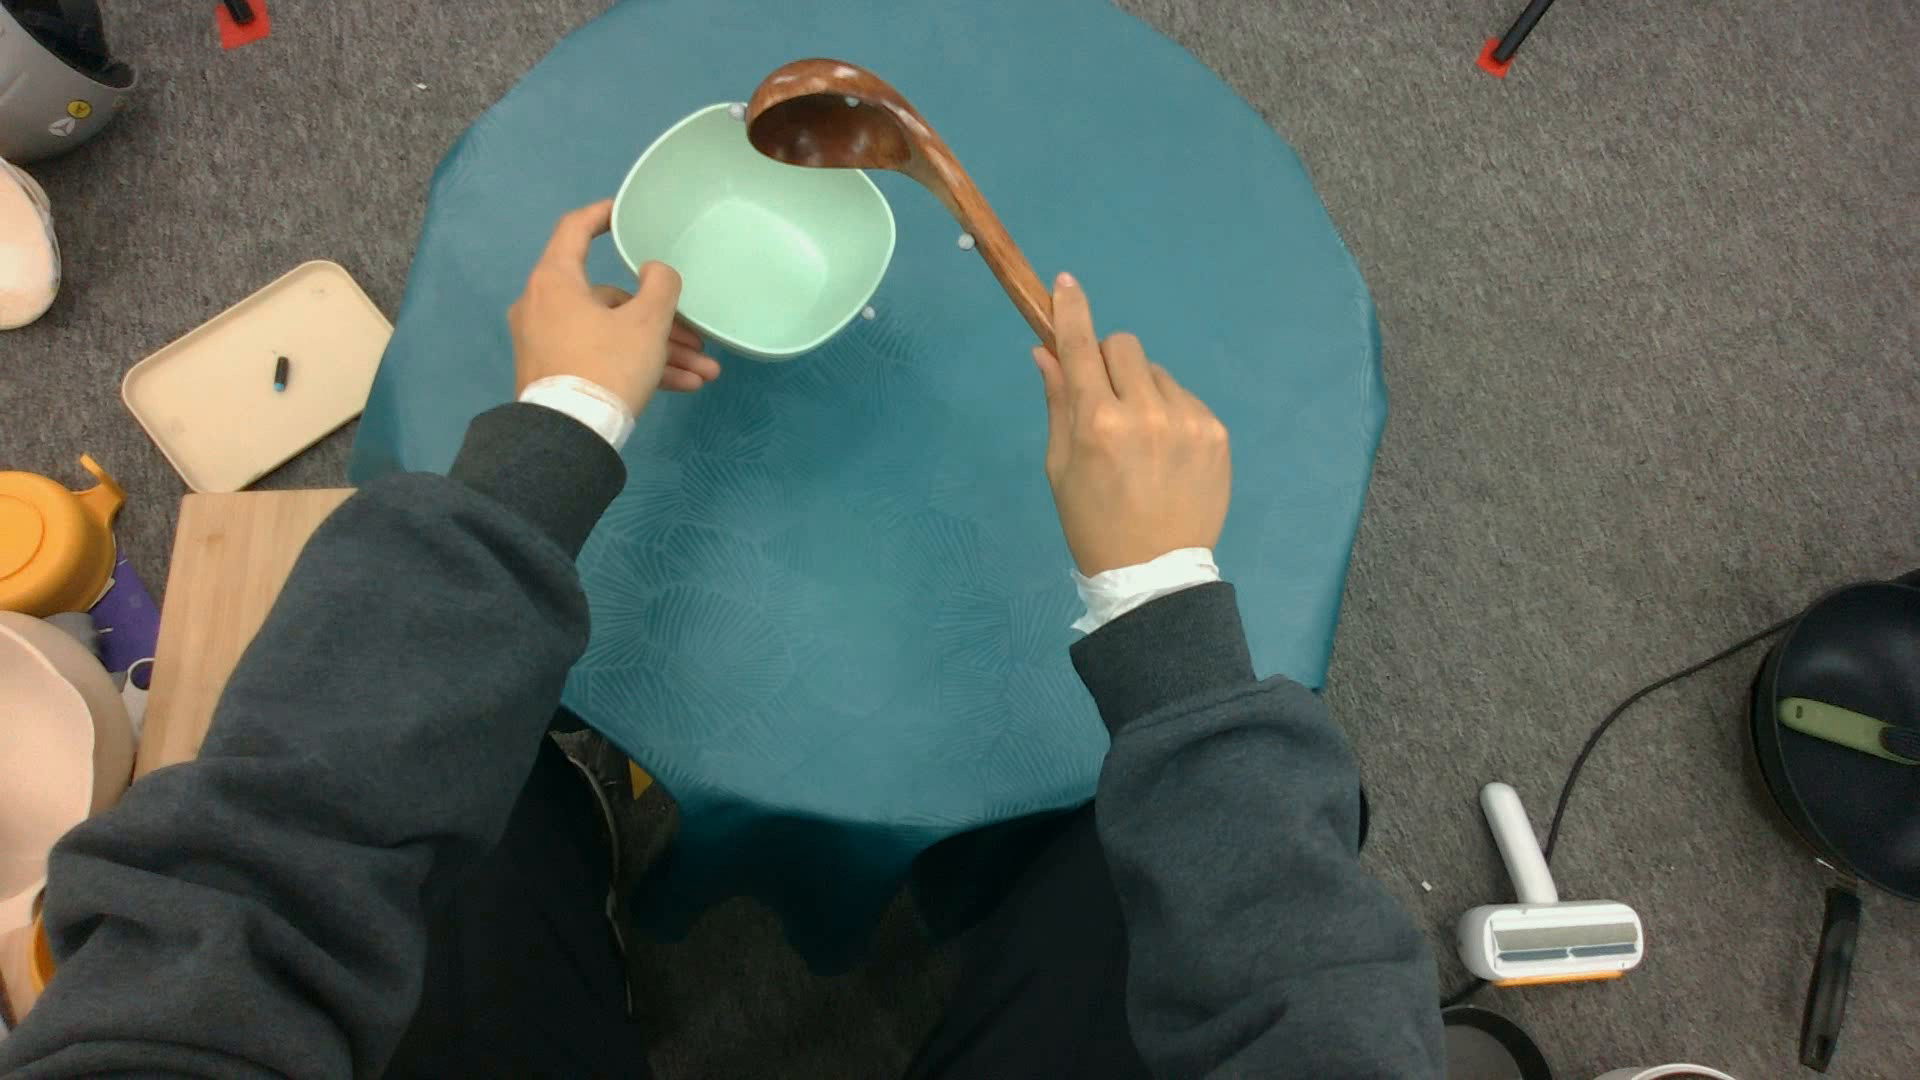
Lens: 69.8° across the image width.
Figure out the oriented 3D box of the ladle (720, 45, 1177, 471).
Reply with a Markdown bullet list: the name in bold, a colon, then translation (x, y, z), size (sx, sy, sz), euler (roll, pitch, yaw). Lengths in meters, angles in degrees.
- **ladle**: translation (-0.008, -0.124, 0.657), size (0.077, 0.082, 0.274), euler (-38, 89, -11)

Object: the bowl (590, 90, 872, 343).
- **bowl**: translation (-0.126, -0.166, 0.750), size (0.151, 0.058, 0.152), euler (8, 65, -17)
